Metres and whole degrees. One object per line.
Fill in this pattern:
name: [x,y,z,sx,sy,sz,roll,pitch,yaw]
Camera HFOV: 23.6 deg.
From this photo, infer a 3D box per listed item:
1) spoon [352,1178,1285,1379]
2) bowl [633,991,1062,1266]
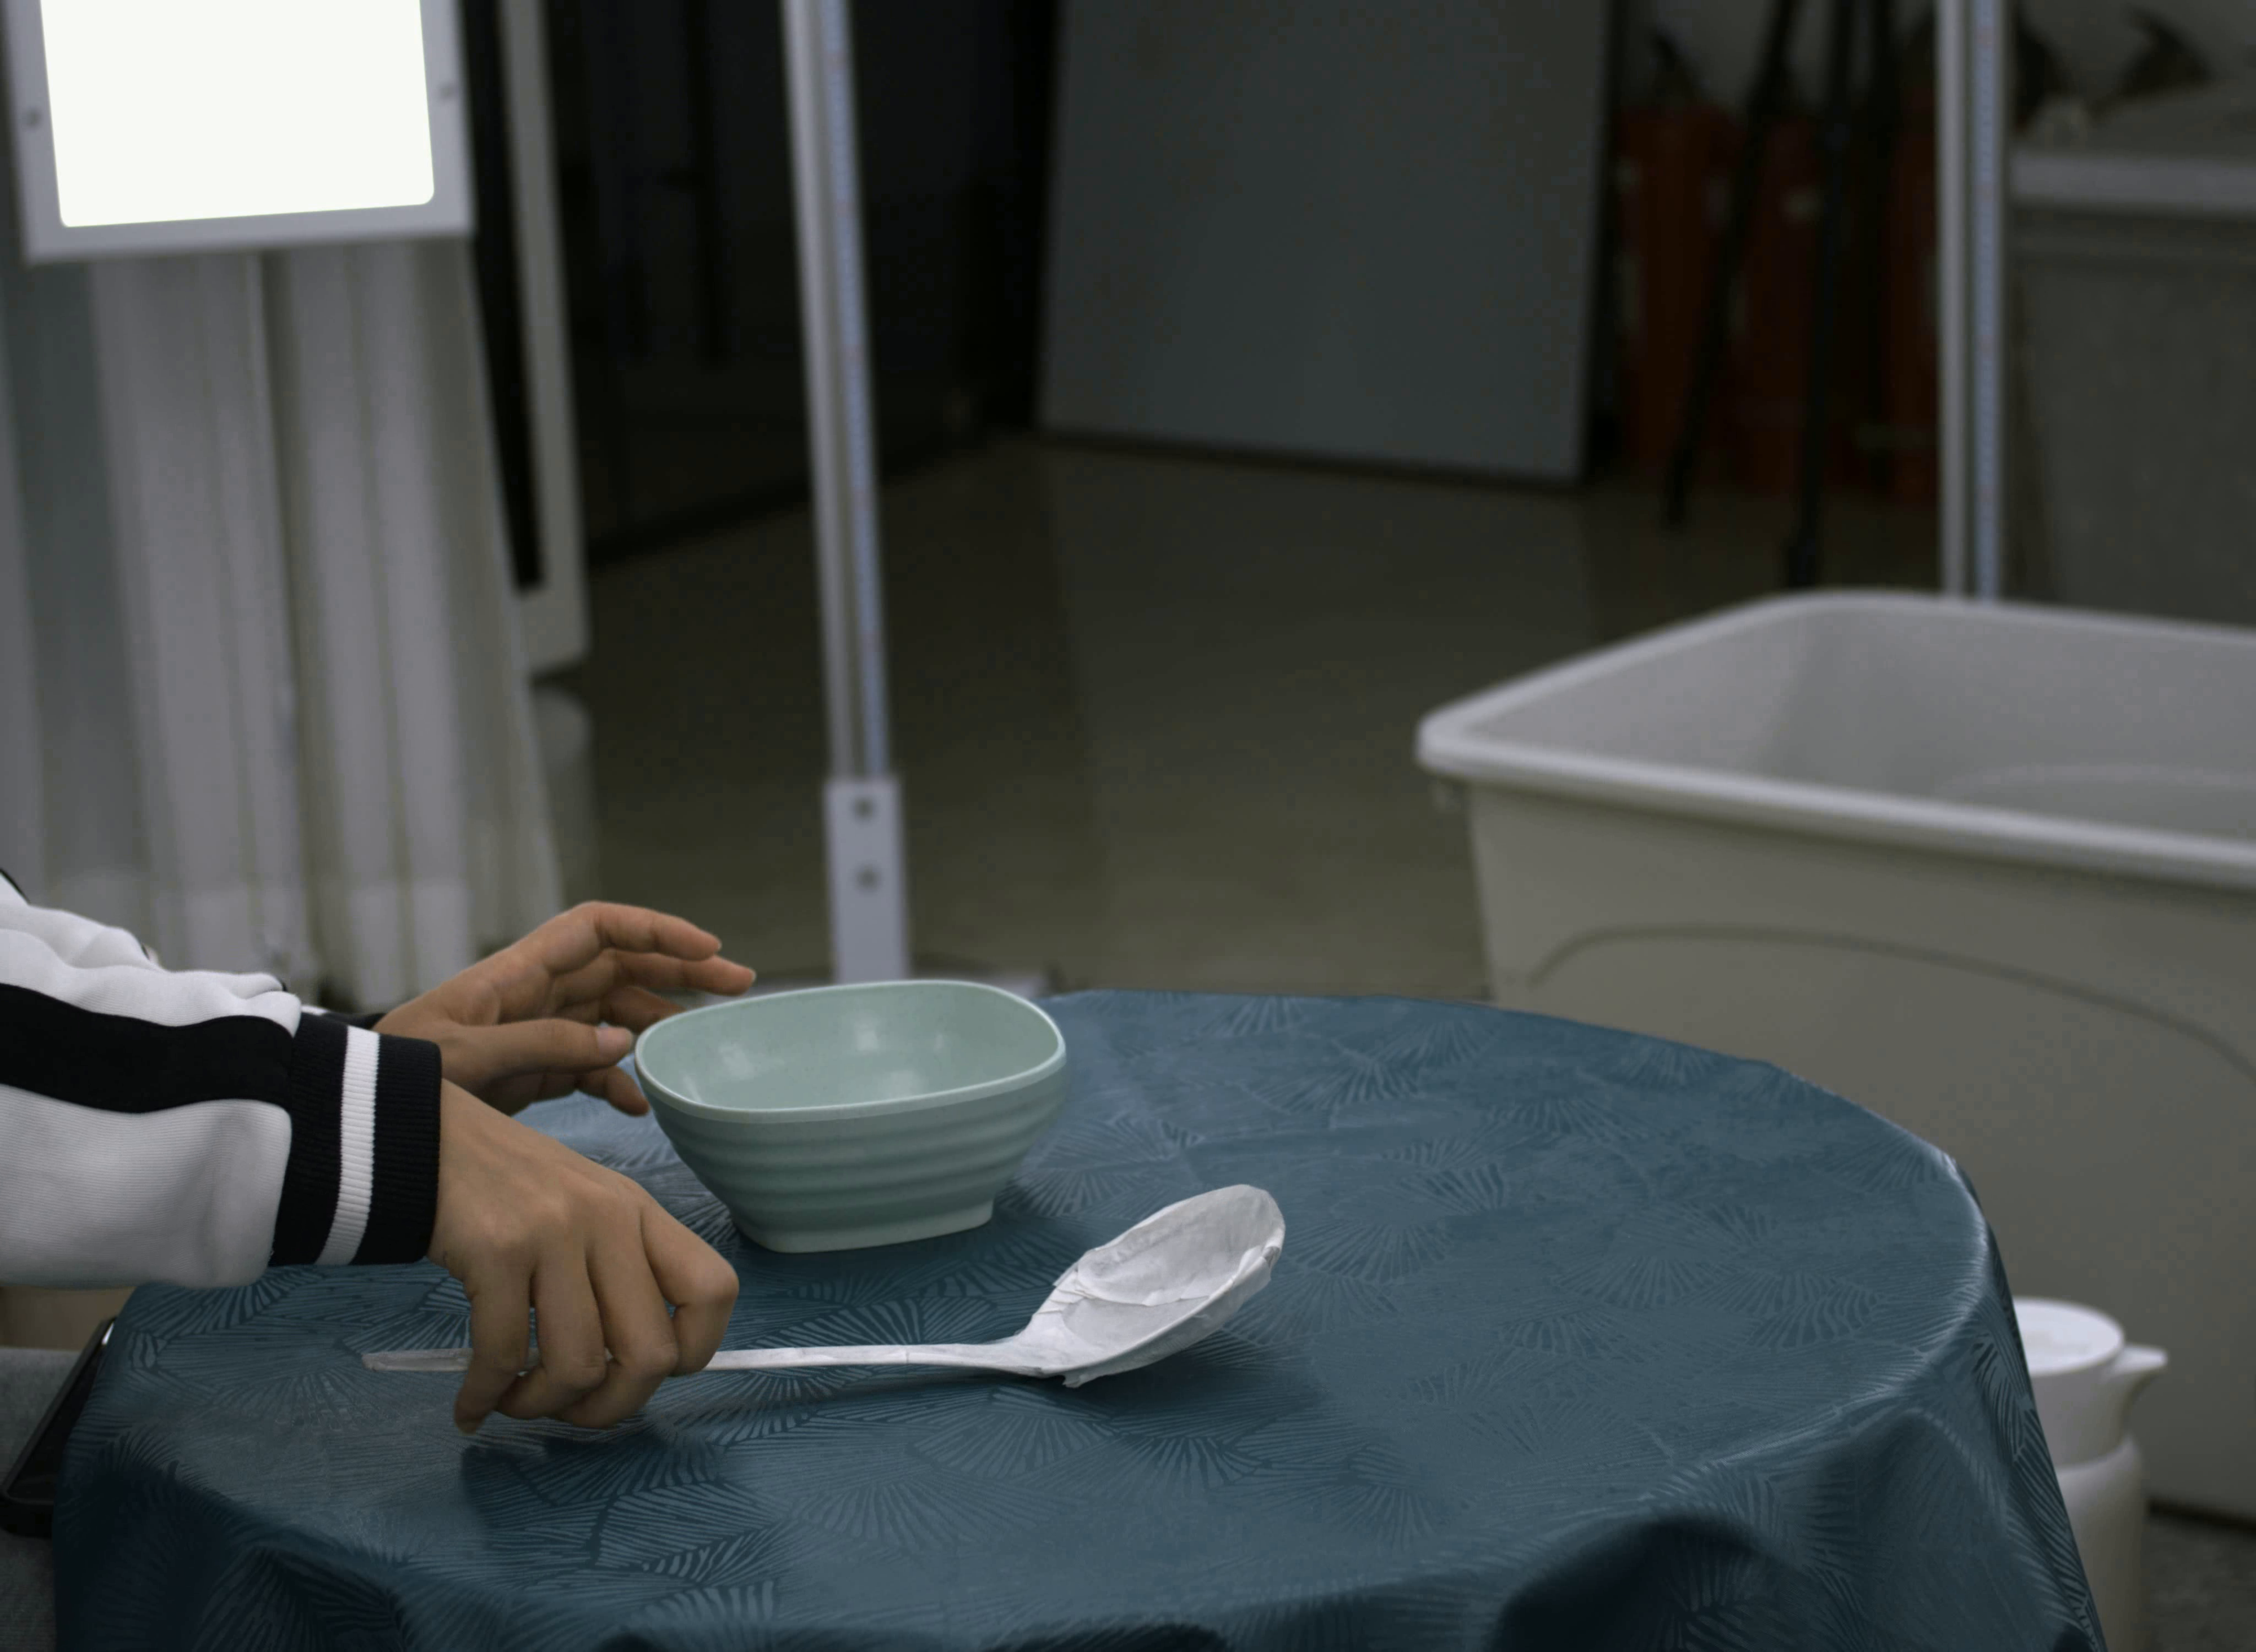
spoon: [-0.091,0.131,1.602,0.273,0.060,0.101,2,7,-4]
bowl: [-0.090,0.102,1.766,0.149,0.059,0.152,-4,14,0]
